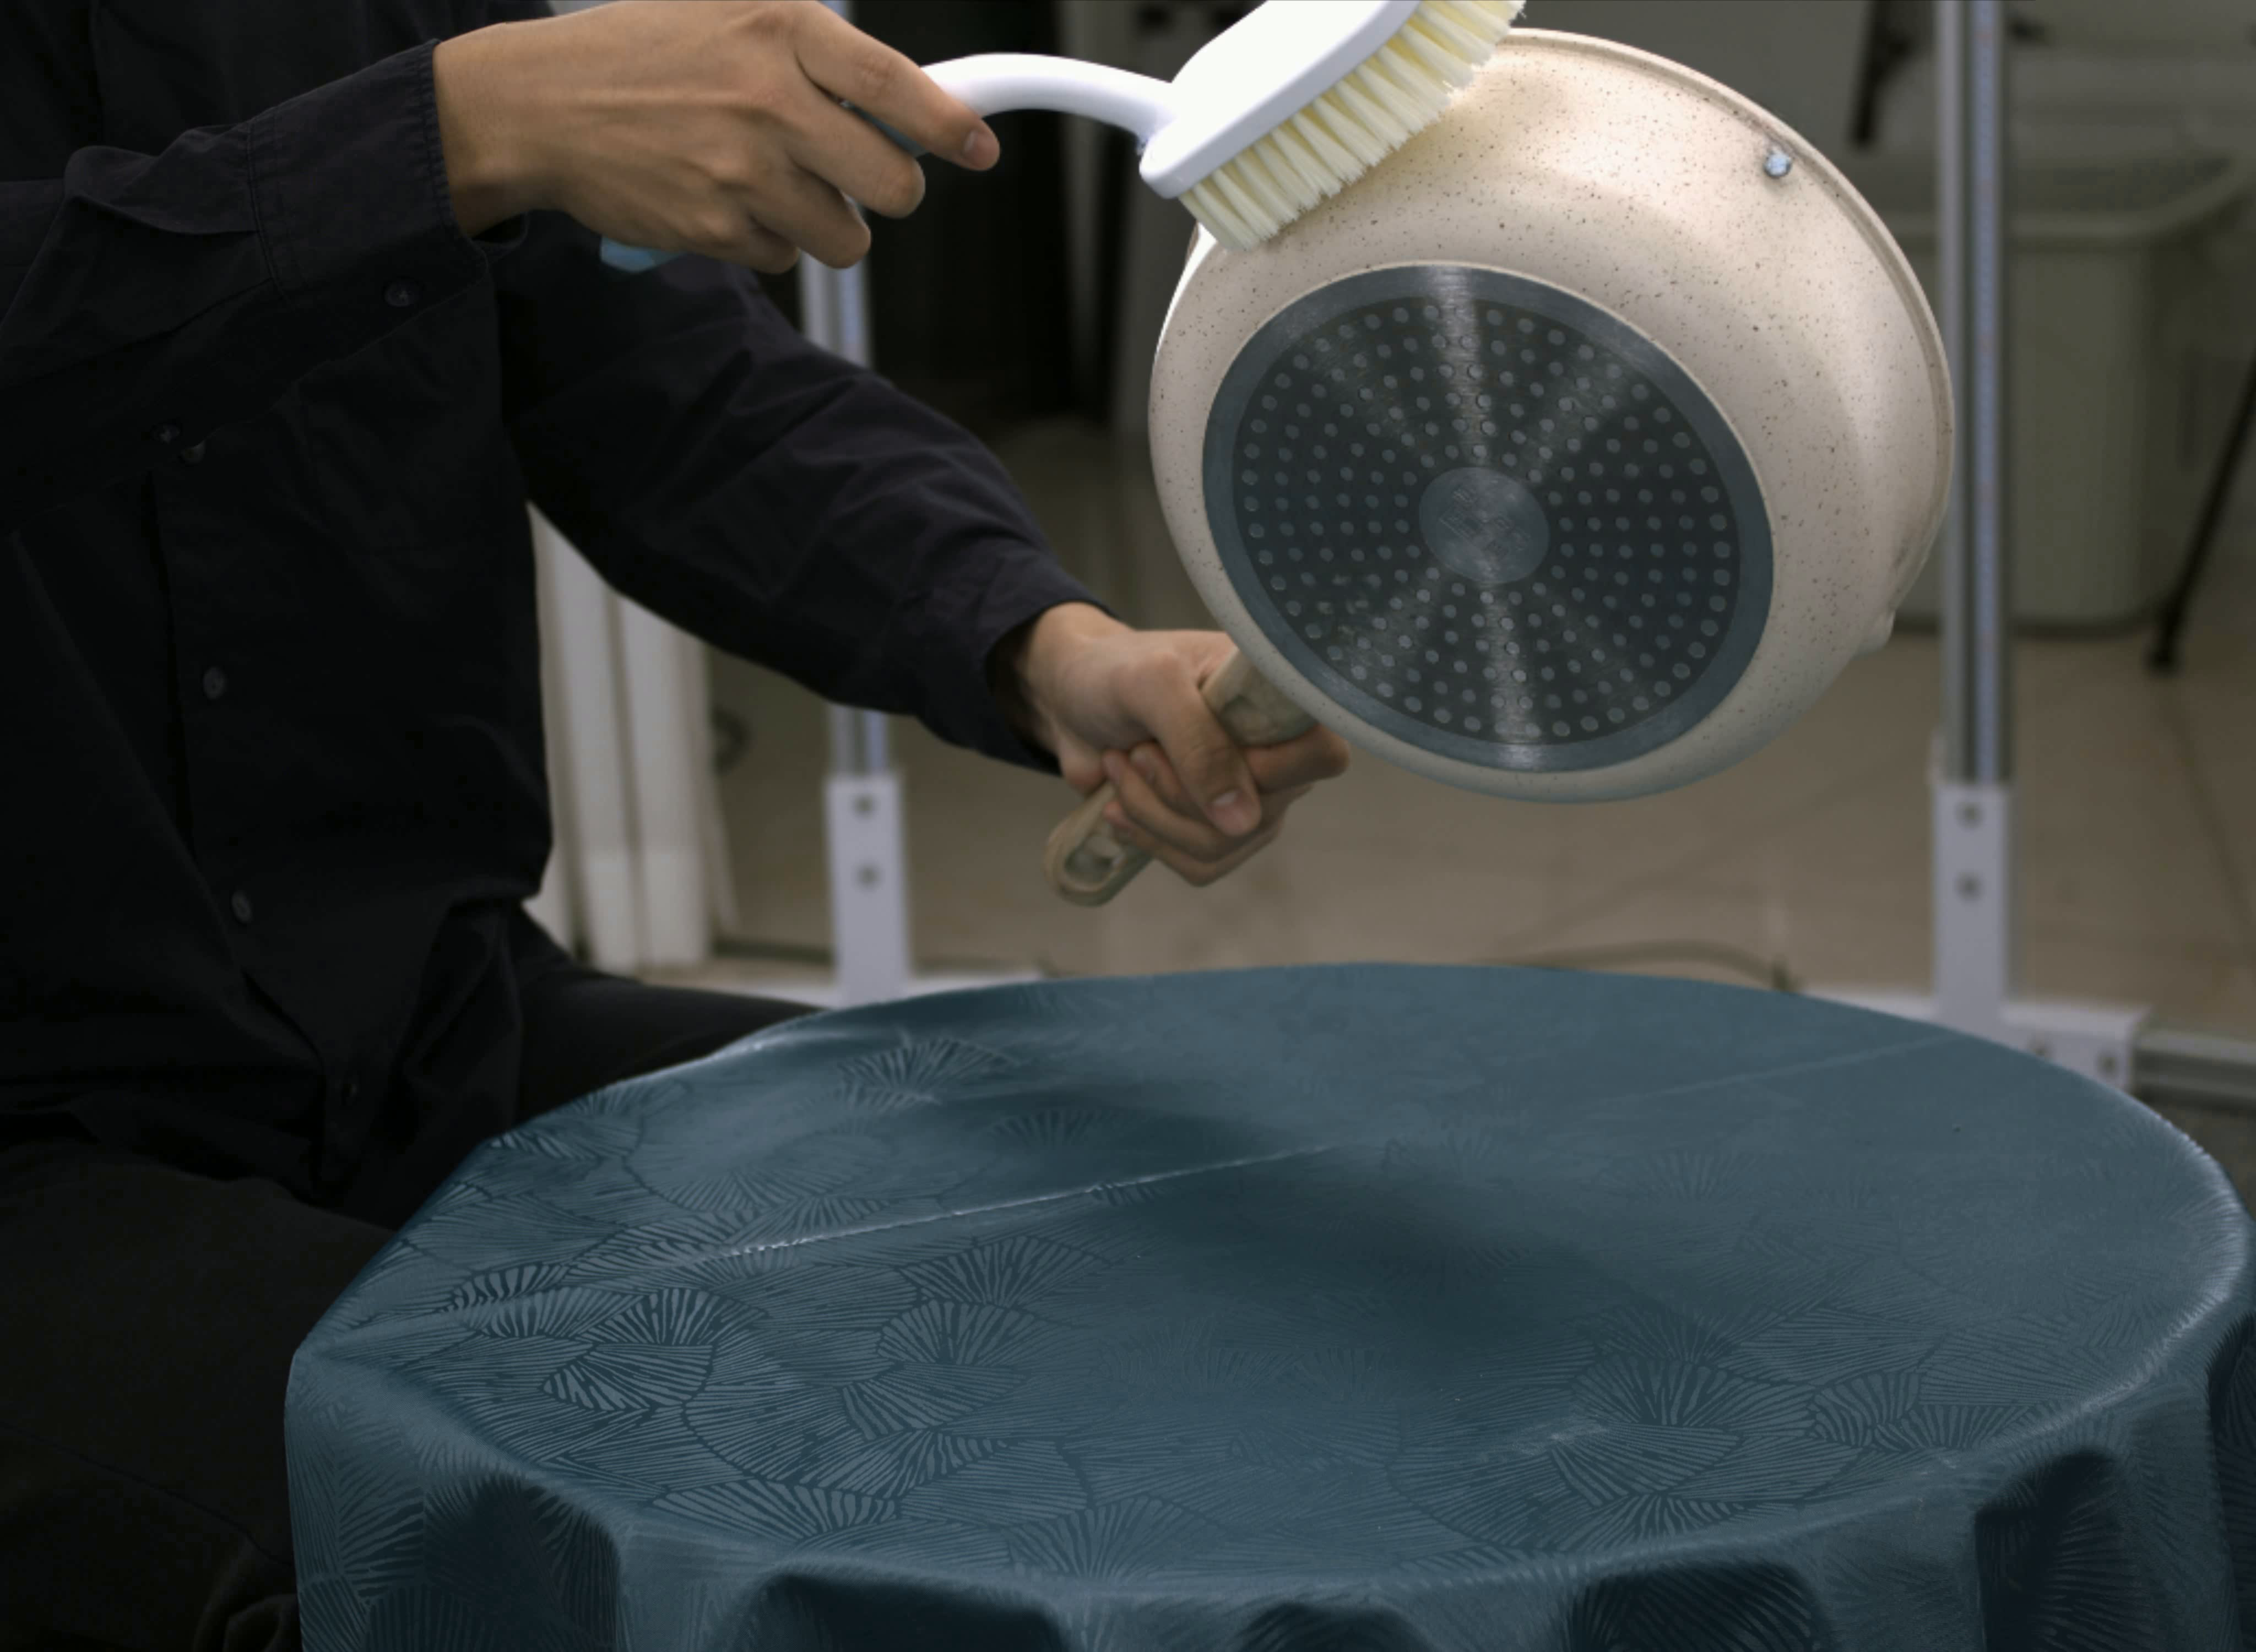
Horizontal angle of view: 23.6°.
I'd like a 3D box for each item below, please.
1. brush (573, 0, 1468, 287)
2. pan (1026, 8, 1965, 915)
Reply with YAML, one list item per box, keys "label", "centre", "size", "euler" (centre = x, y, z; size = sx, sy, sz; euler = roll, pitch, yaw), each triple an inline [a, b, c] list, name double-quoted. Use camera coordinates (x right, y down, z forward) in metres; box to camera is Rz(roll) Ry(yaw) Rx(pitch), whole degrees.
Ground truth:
- label: "brush"
  centre: [-0.024, -0.202, 1.618]
  size: [0.327, 0.085, 0.081]
  euler: [-20, -6, 31]
- label: "pan"
  centre: [0.077, -0.069, 1.704]
  size: [0.439, 0.262, 0.101]
  euler: [-46, 9, 41]
